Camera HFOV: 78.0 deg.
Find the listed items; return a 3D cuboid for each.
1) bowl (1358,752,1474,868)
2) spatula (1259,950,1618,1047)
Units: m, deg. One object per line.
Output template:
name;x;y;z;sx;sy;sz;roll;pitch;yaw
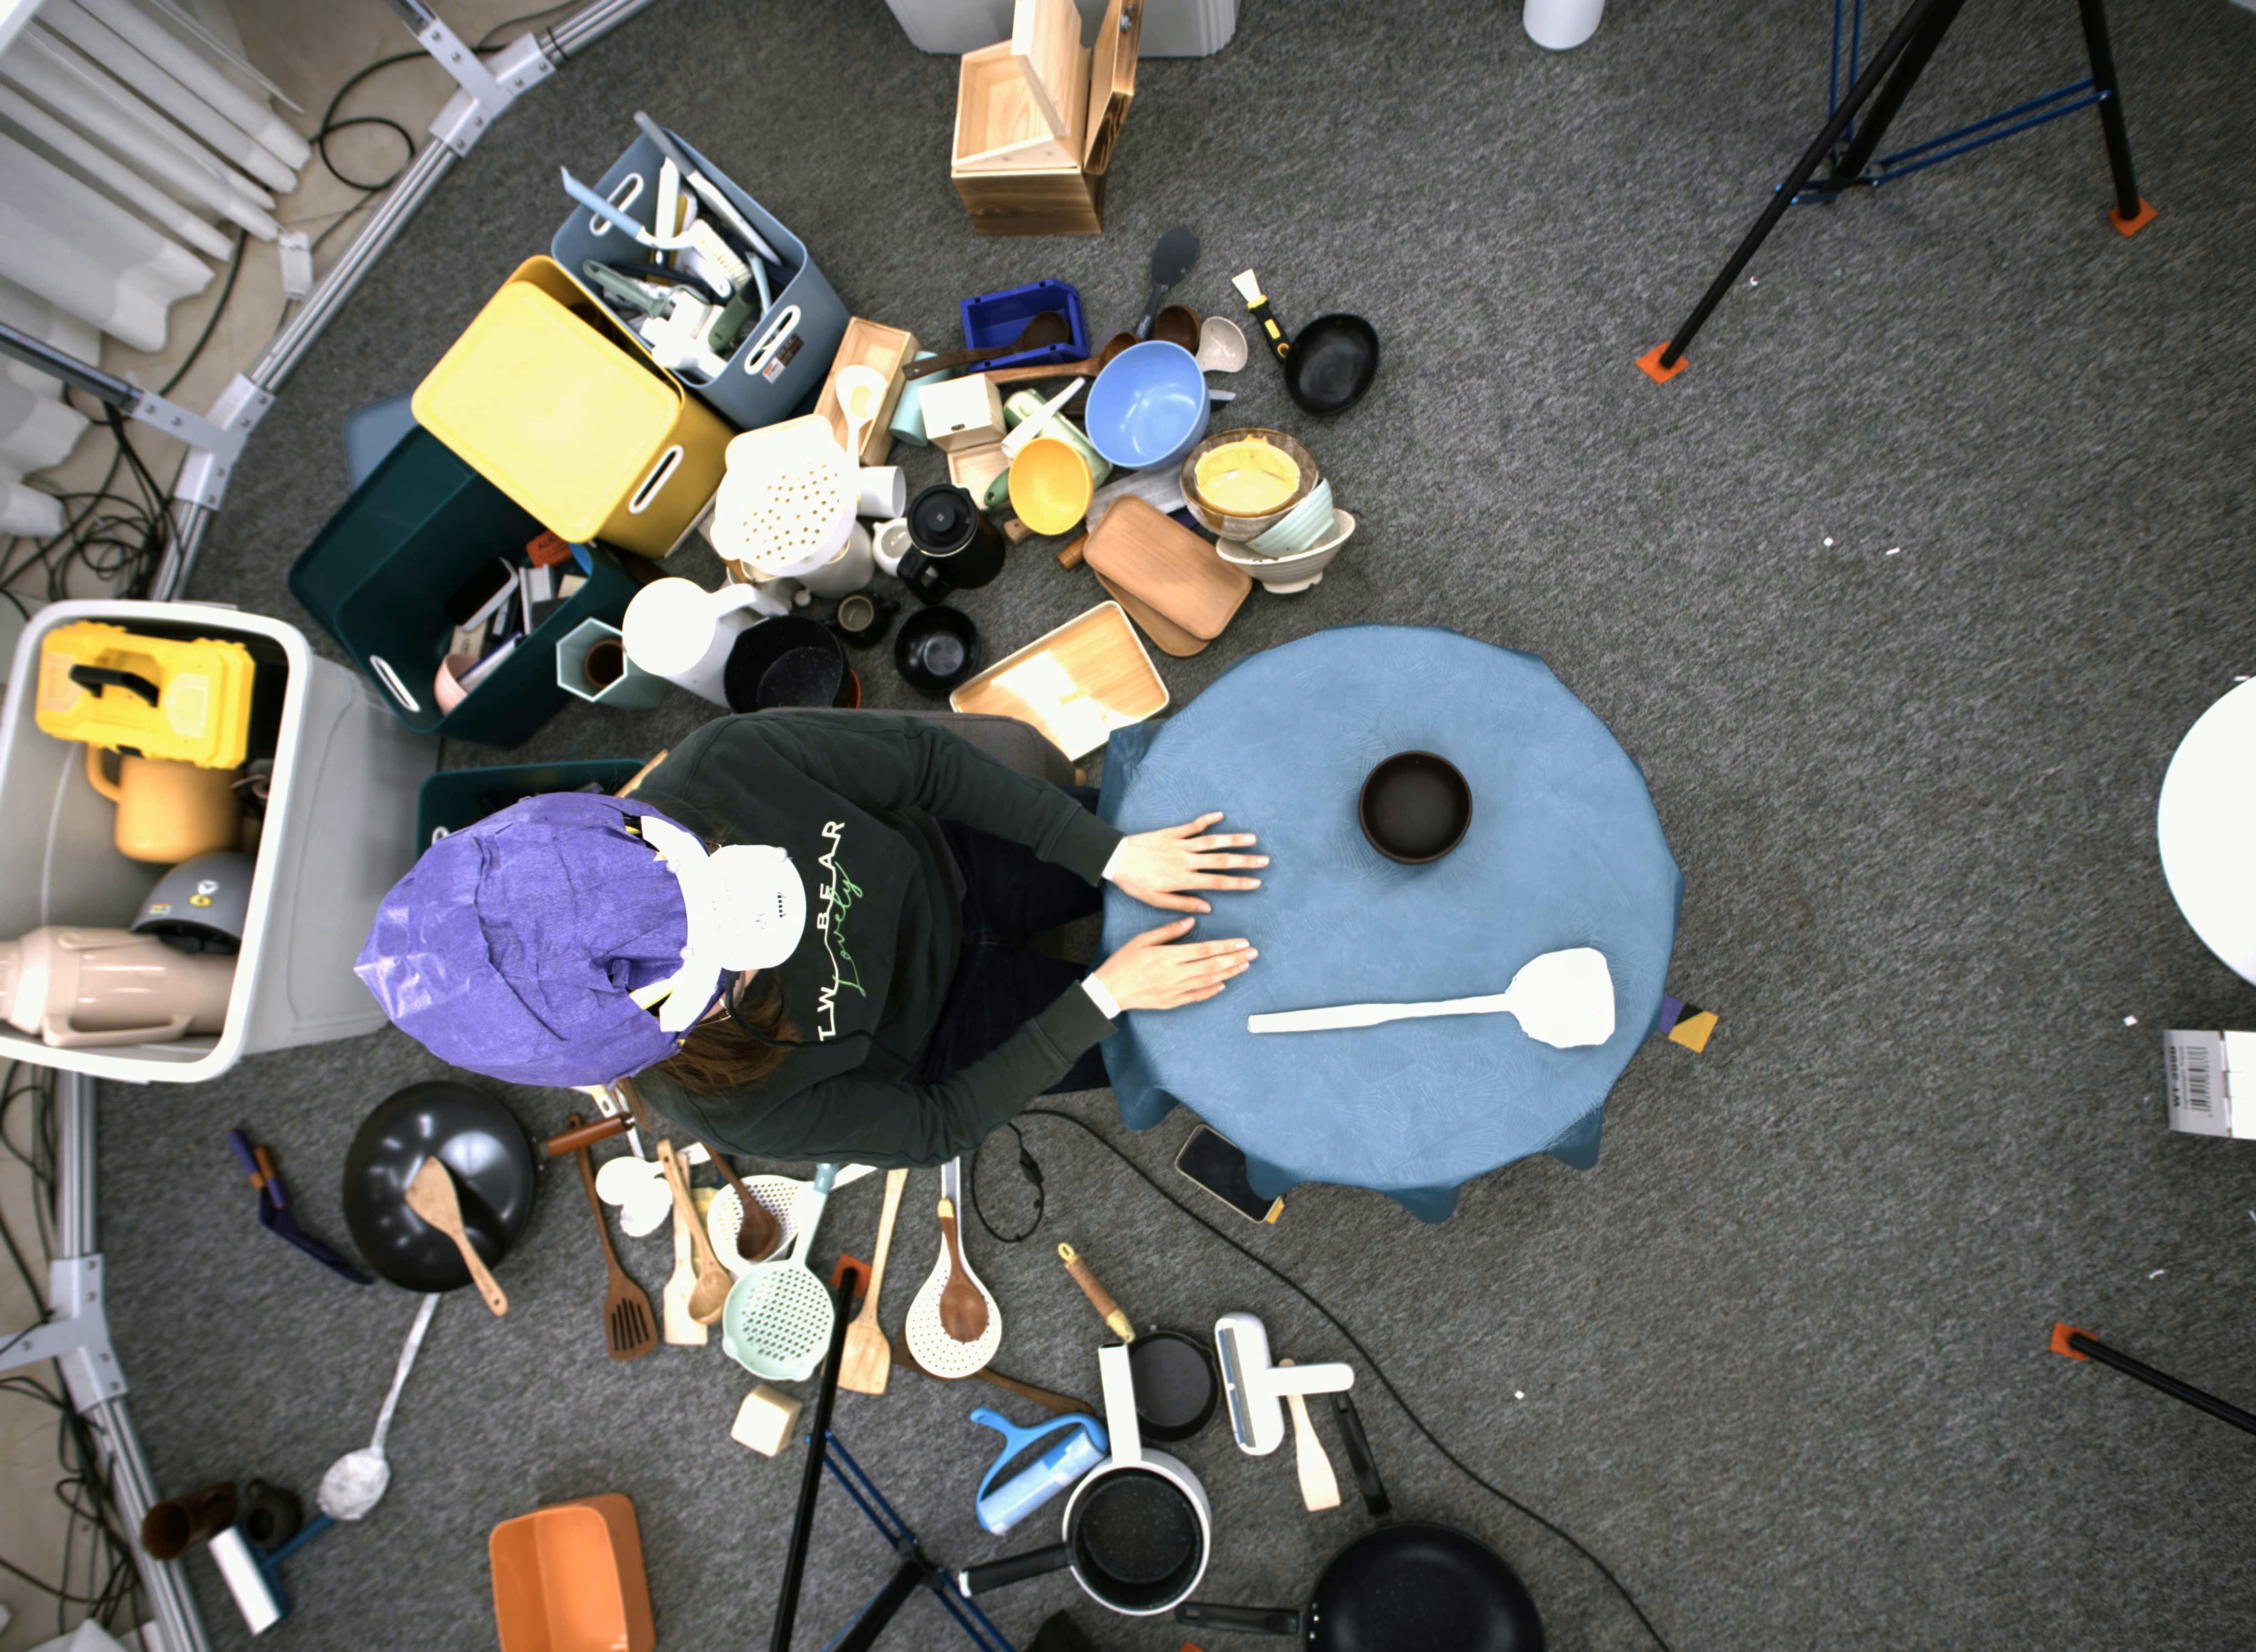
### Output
bowl;0.298;-0.015;1.429;0.118;0.070;0.117;-1;84;11
spatula;0.316;0.186;1.429;0.366;0.045;0.098;-5;87;10
